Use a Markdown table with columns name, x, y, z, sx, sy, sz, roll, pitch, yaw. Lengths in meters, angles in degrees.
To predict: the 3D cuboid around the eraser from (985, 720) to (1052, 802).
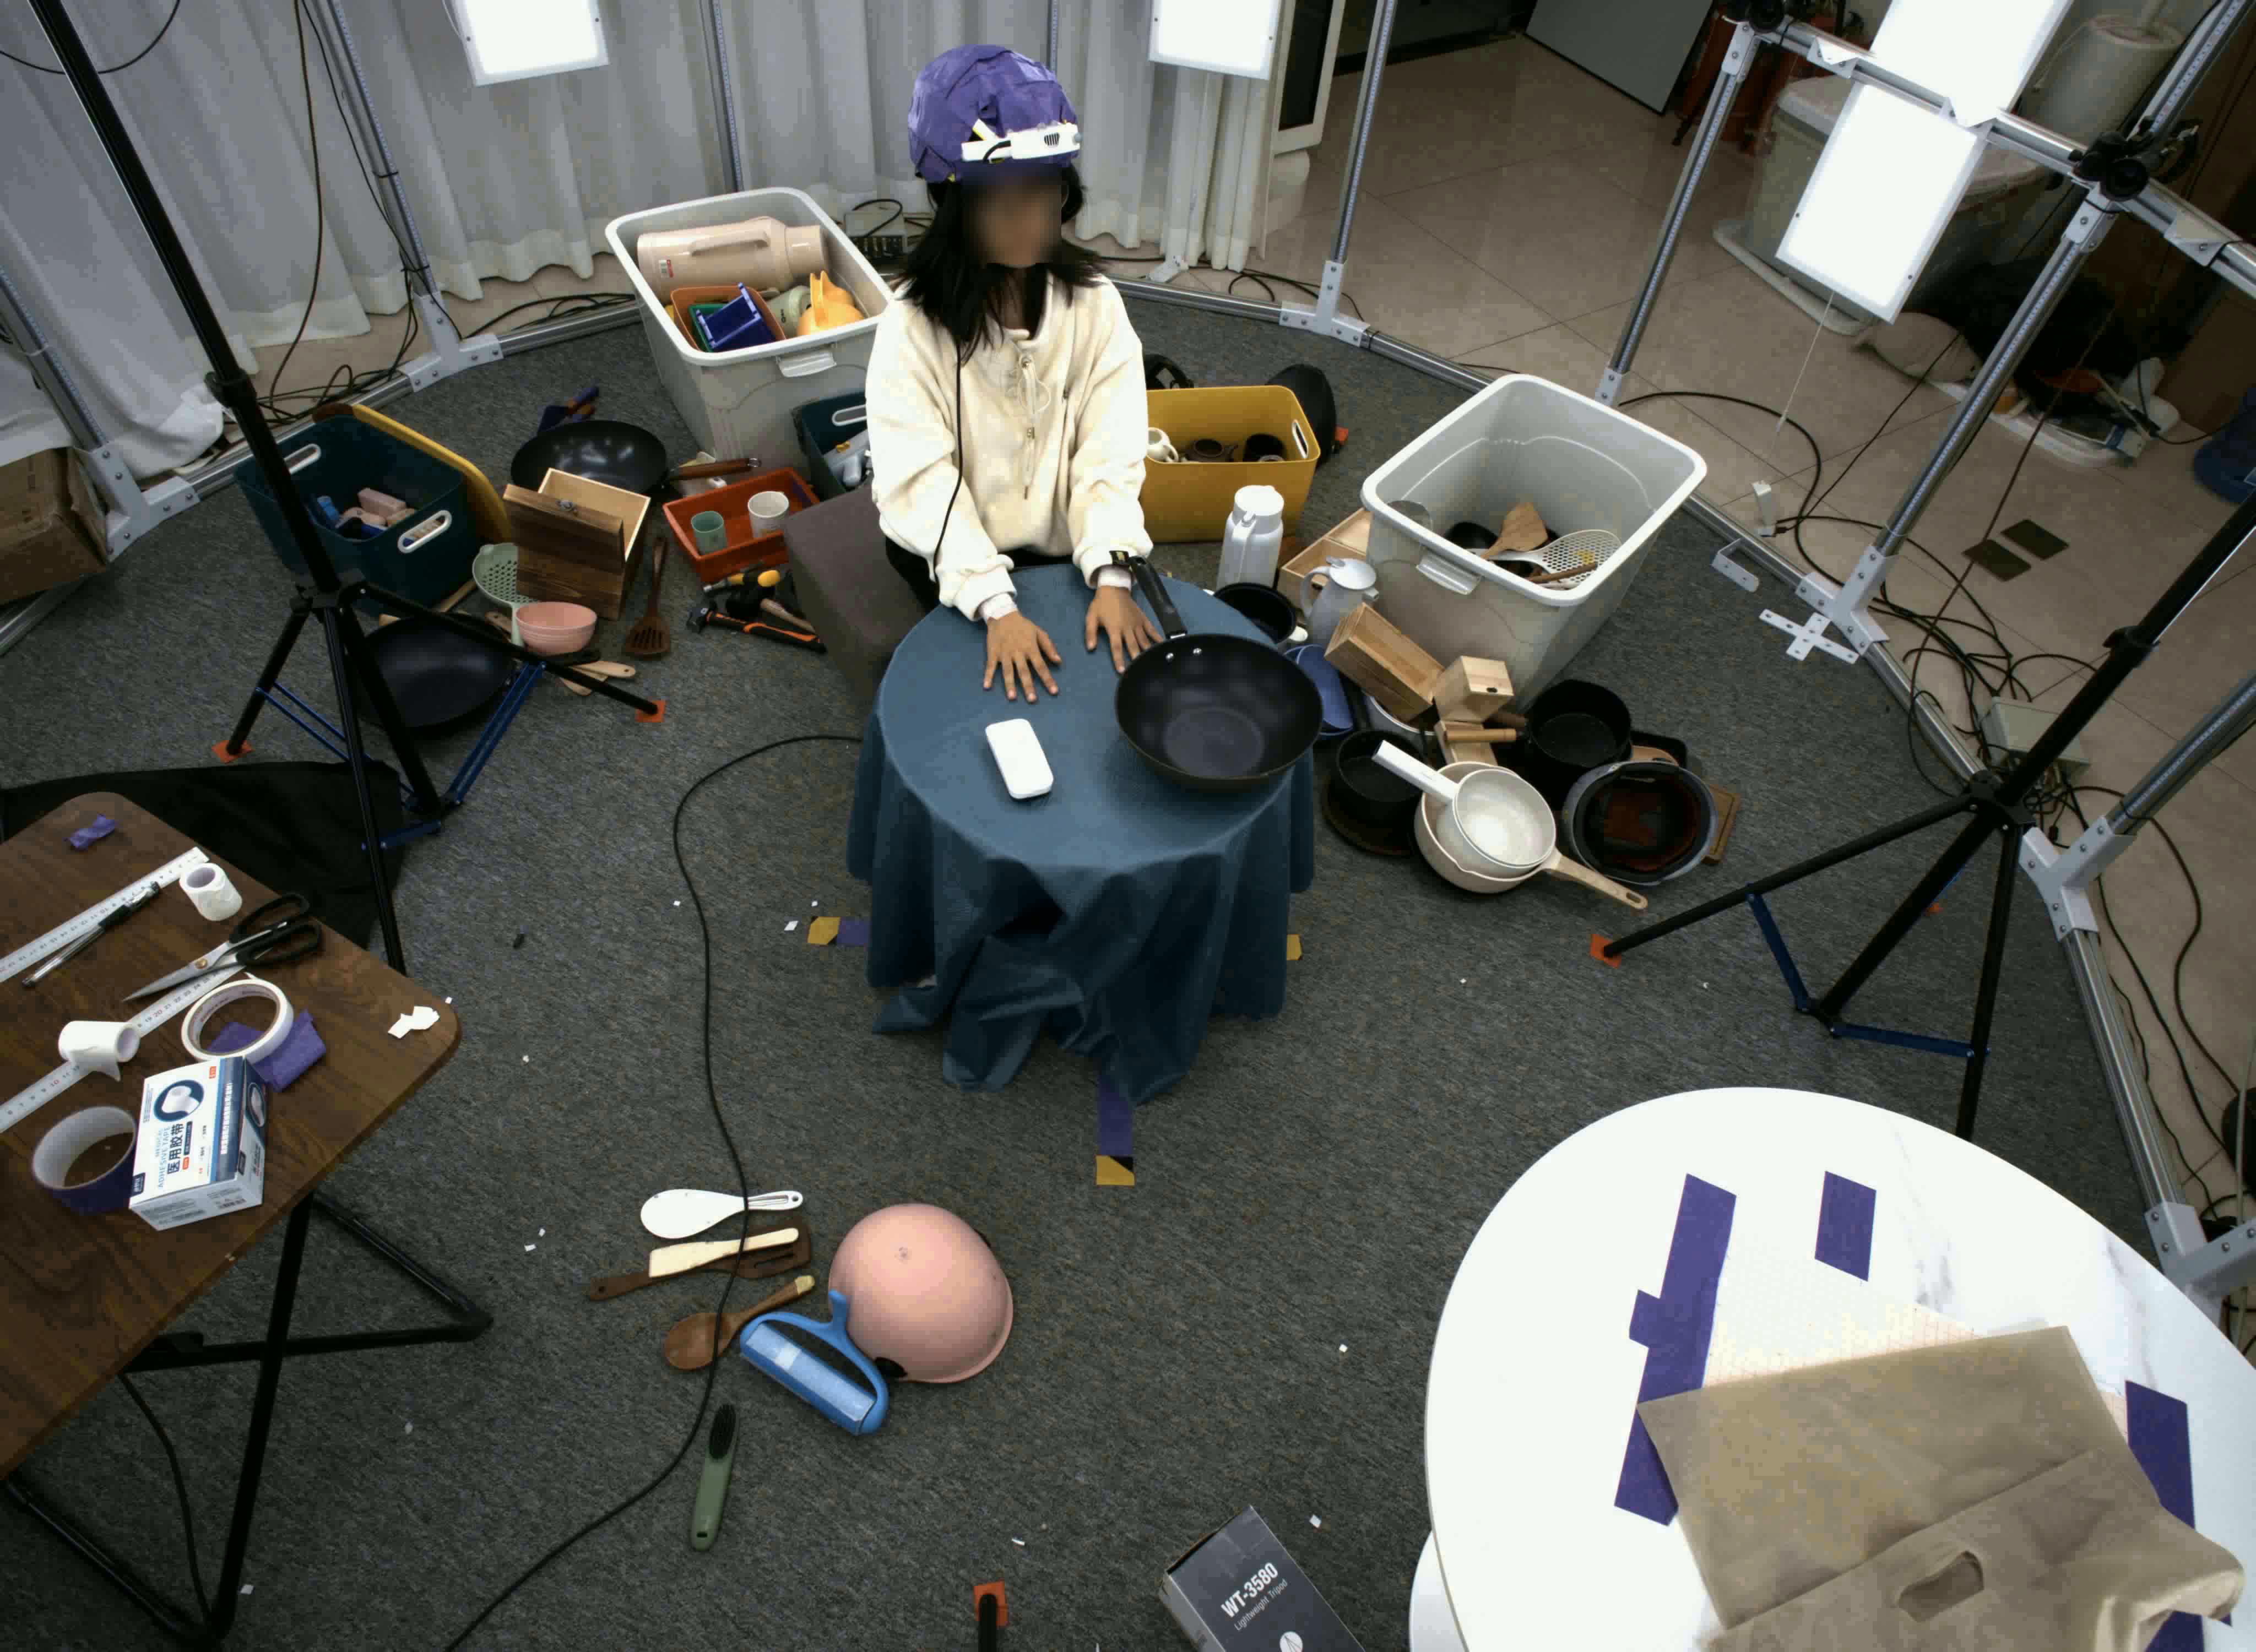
| name | x | y | z | sx | sy | sz | roll | pitch | yaw |
| --- | --- | --- | --- | --- | --- | --- | --- | --- | --- |
| eraser | -0.146 | -0.090 | 1.719 | 0.063 | 0.034 | 0.134 | -12 | 51 | -17 |

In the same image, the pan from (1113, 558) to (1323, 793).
| name | x | y | z | sx | sy | sz | roll | pitch | yaw |
| --- | --- | --- | --- | --- | --- | --- | --- | --- | --- |
| pan | 0.089 | -0.207 | 1.802 | 0.288 | 0.085 | 0.474 | -12 | 50 | -15 |
